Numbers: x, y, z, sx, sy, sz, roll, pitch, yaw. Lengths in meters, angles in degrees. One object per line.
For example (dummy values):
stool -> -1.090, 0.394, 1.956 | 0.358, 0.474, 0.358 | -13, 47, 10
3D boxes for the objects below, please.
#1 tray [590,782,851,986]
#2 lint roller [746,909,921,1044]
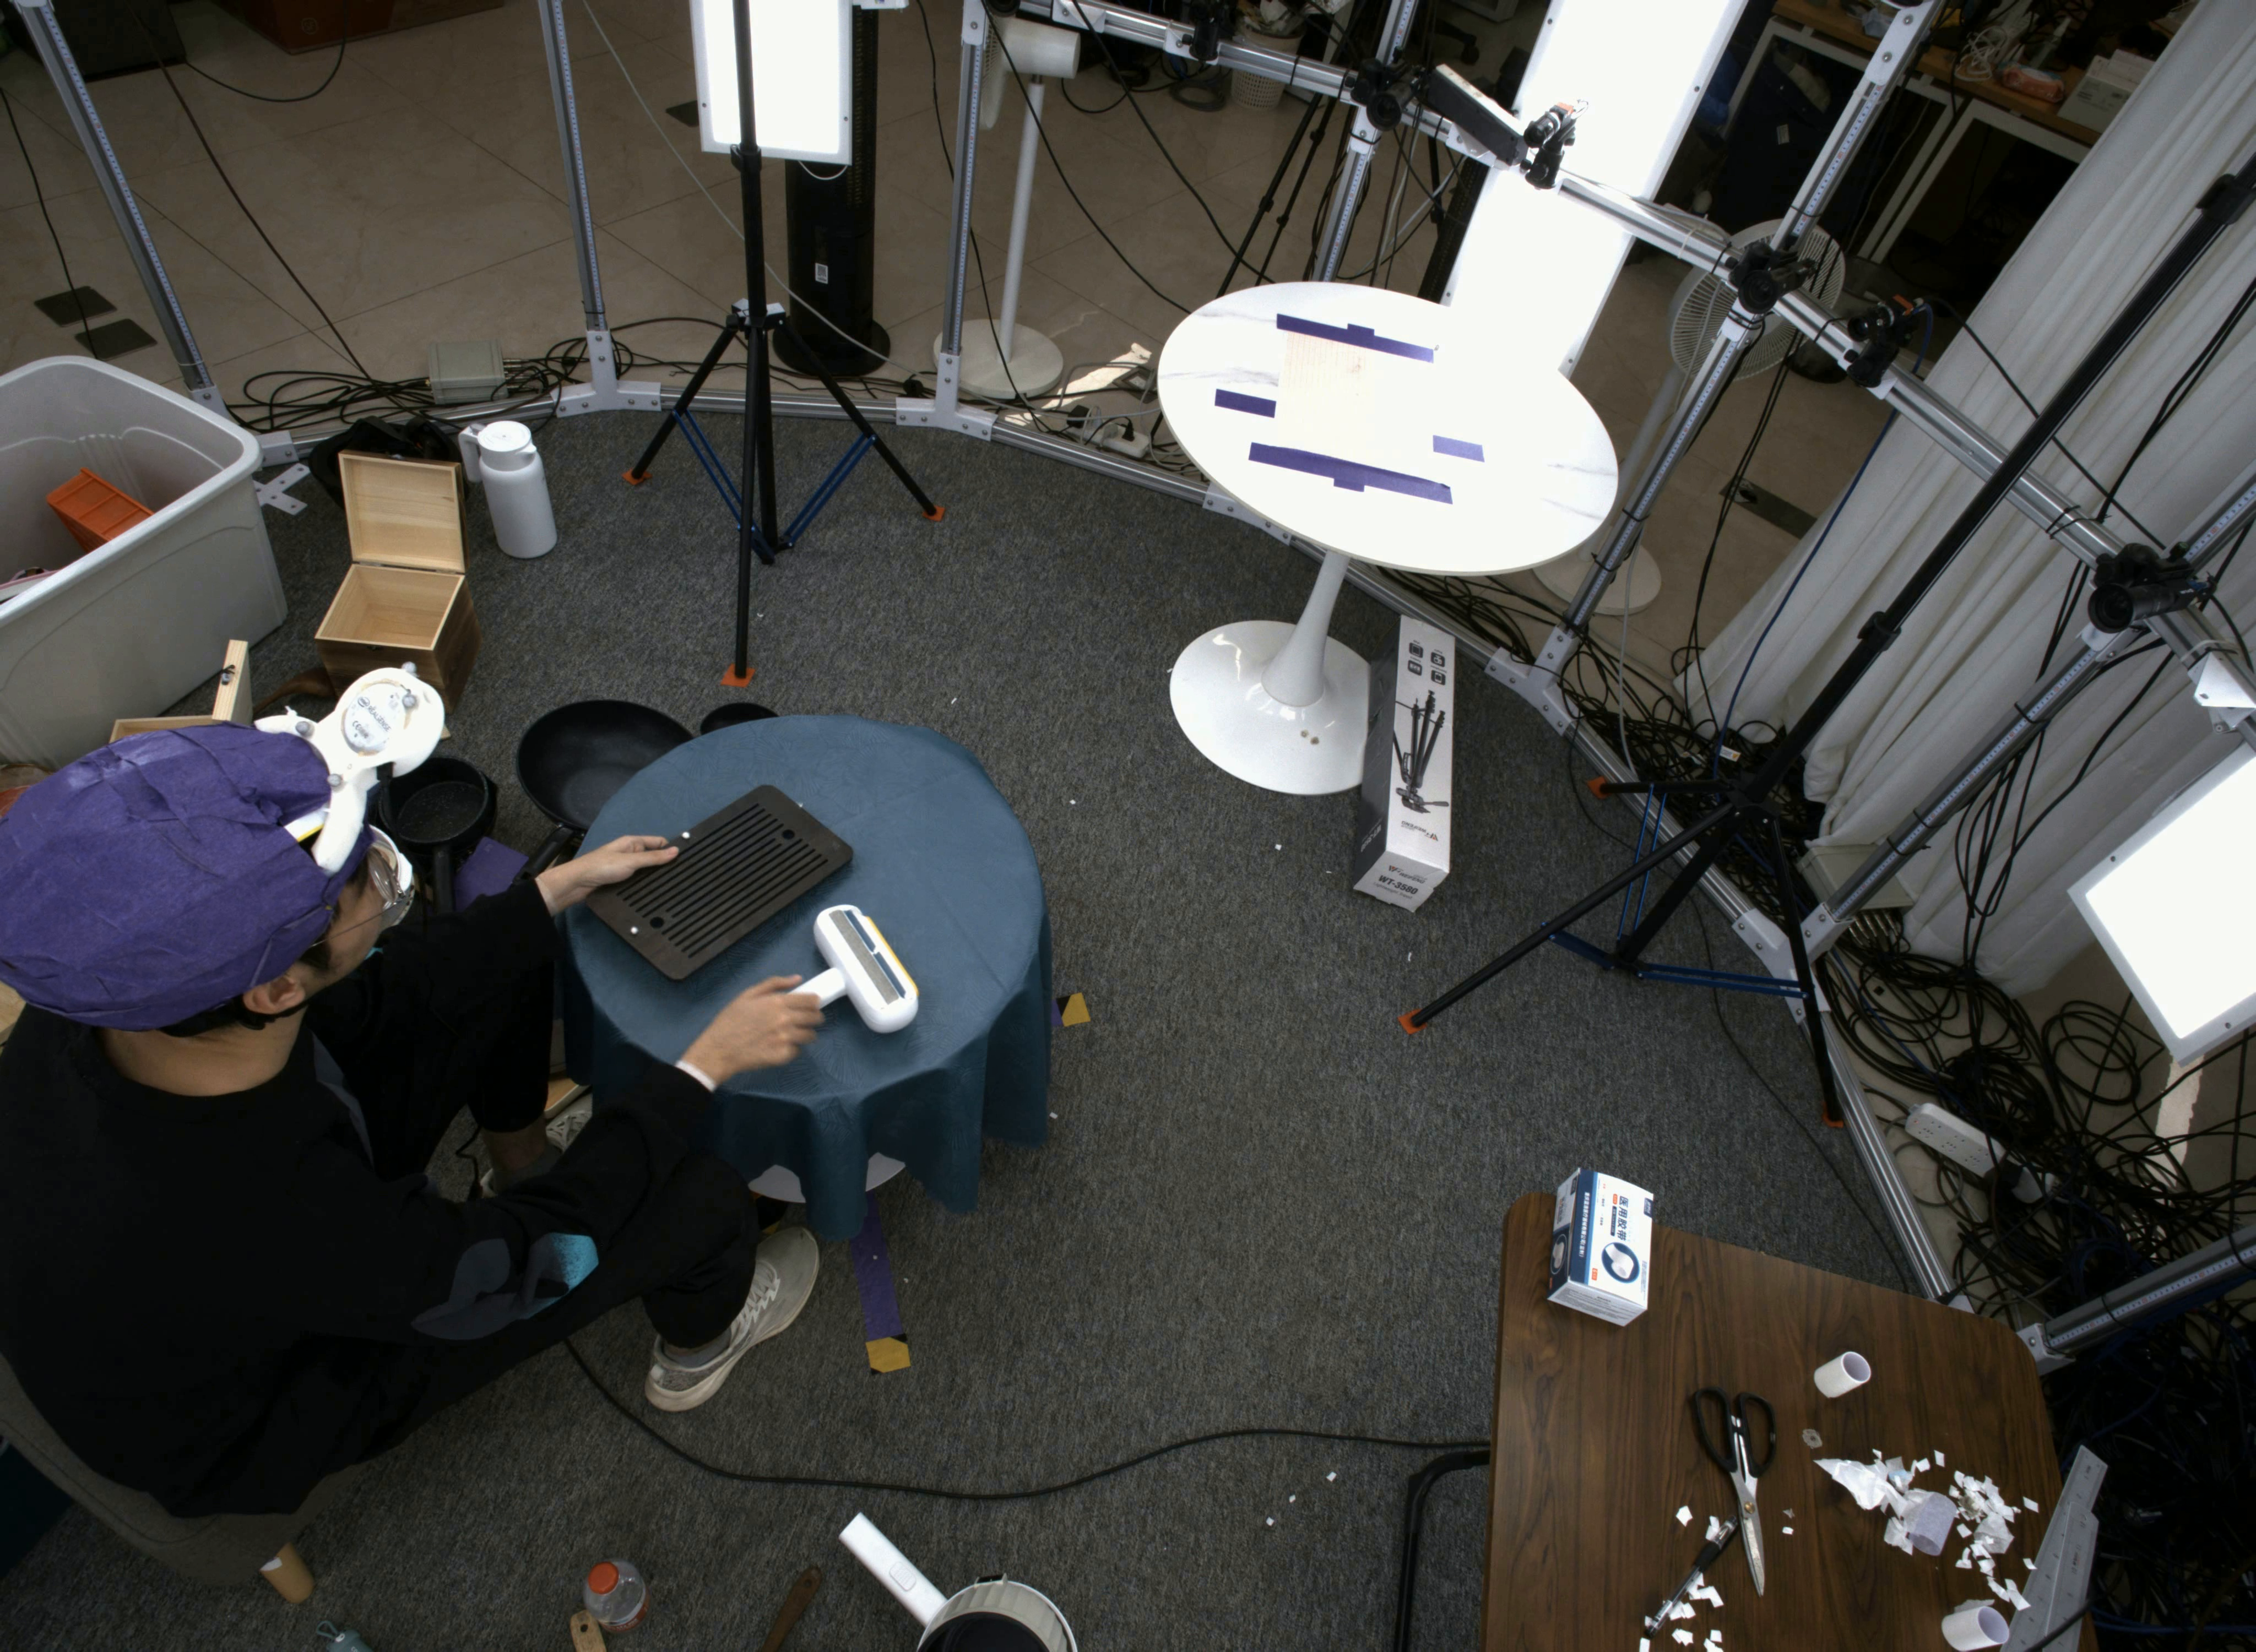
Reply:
tray -> -0.509, 0.065, 1.621 | 0.167, 0.019, 0.306 | 38, 48, 12
lint roller -> -0.366, 0.198, 1.556 | 0.193, 0.076, 0.187 | -20, 55, -25
